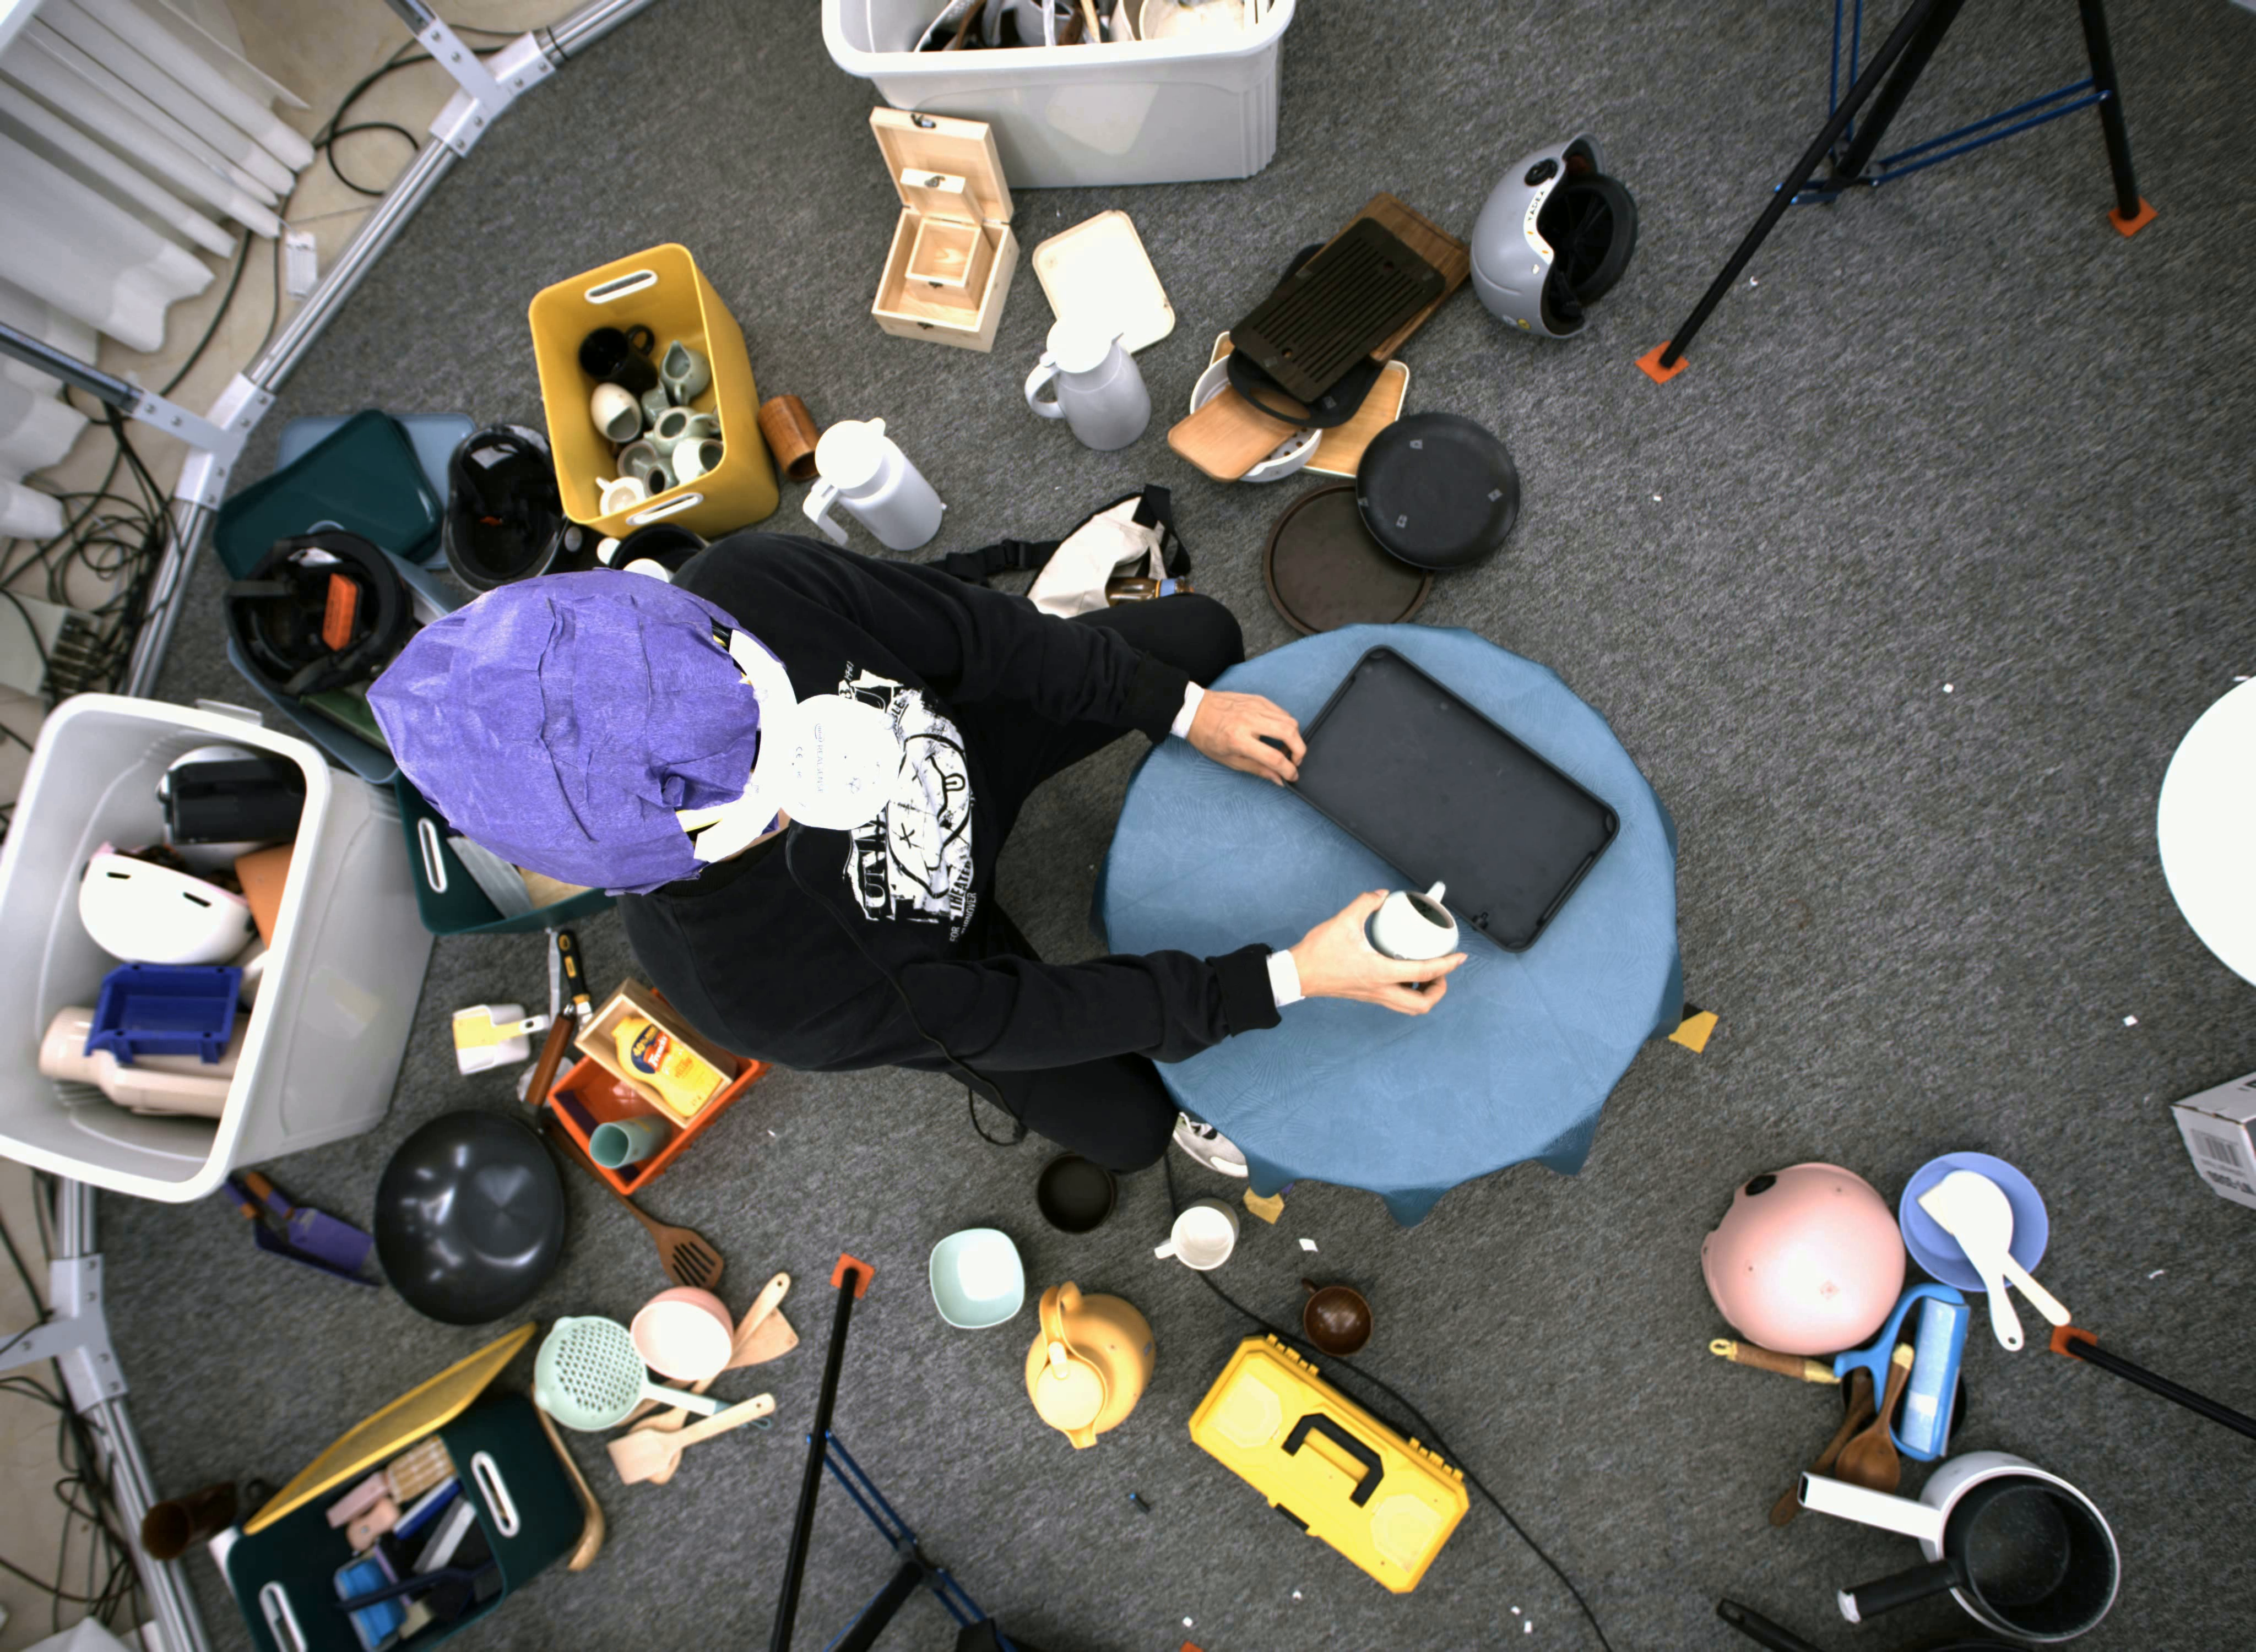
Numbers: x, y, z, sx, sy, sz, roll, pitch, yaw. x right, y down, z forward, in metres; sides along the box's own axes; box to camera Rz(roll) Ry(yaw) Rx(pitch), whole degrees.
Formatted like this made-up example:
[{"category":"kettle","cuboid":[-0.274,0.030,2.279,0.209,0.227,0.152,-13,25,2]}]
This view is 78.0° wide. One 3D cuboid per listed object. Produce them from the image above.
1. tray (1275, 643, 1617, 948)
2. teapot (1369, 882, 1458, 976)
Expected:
[{"category":"tray","cuboid":[0.326,-0.034,1.427,0.317,0.037,0.185,35,95,6]},{"category":"teapot","cuboid":[0.281,0.103,1.357,0.088,0.141,0.076,36,116,7]}]
